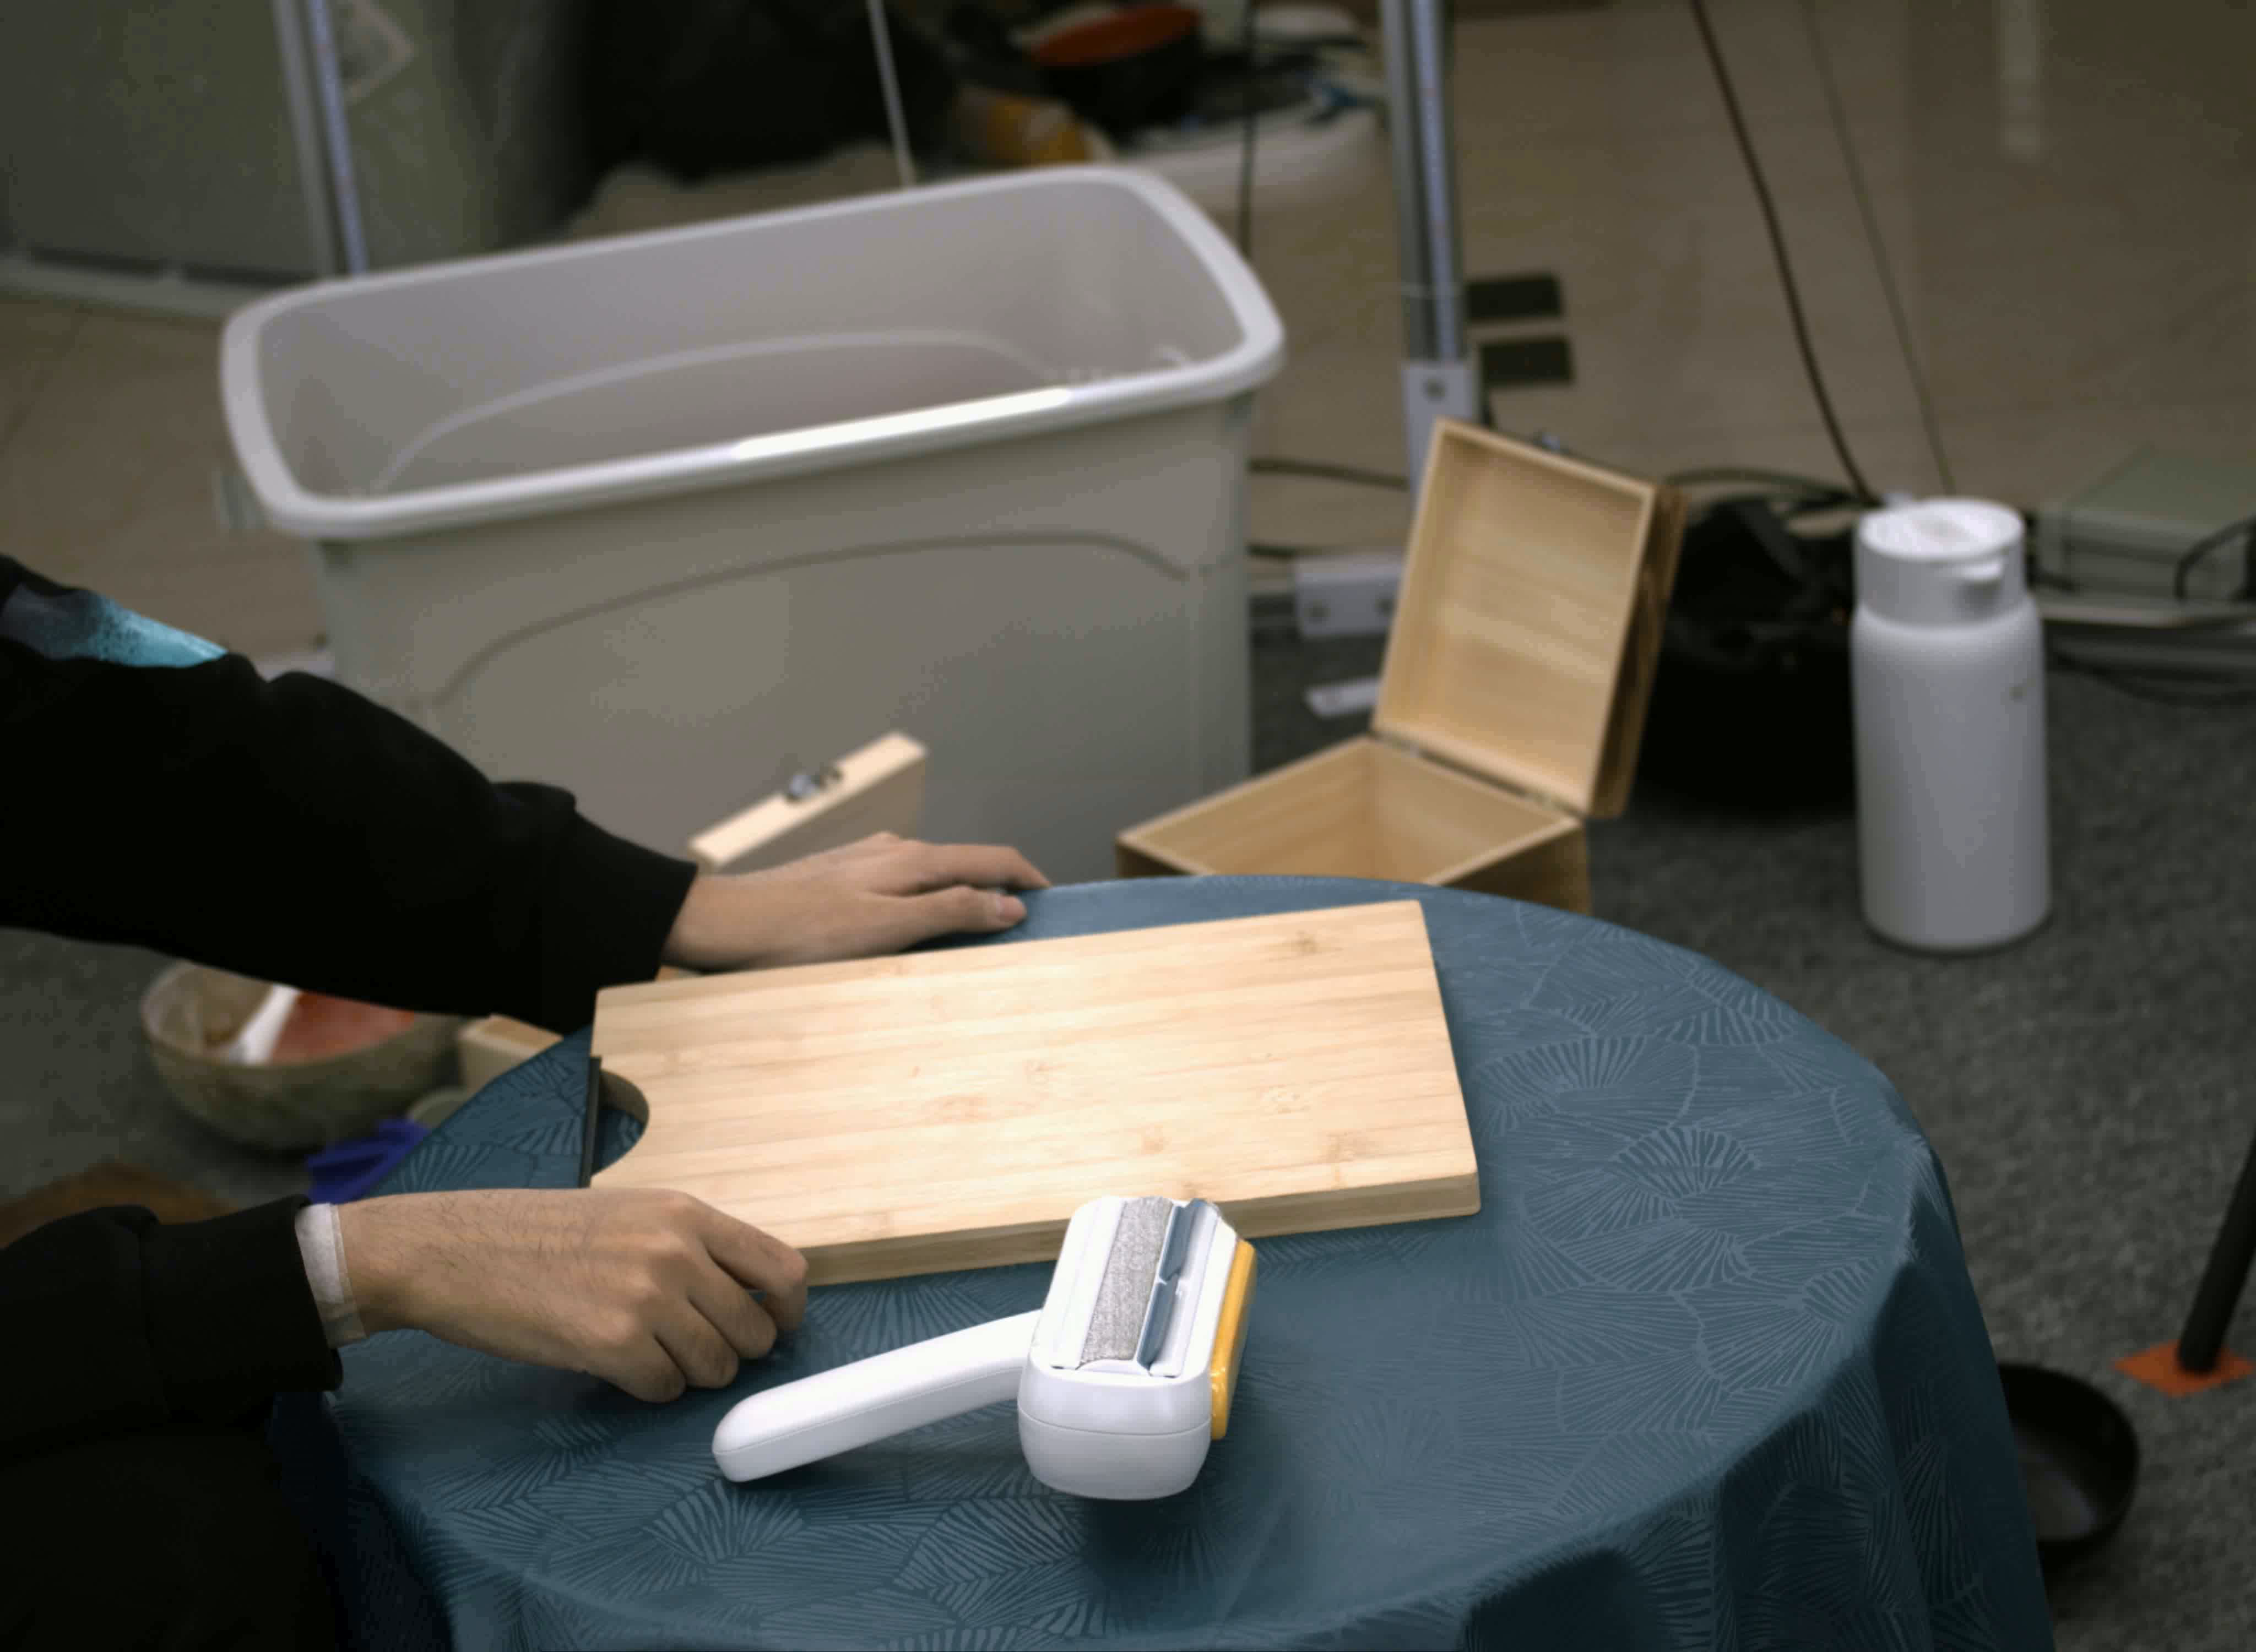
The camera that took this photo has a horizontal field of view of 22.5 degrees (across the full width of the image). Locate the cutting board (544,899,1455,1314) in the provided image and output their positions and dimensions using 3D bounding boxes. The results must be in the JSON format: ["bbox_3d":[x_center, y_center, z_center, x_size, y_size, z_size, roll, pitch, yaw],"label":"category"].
[{"bbox_3d":[-0.049,0.106,2.207,0.348,0.024,0.247,-7,25,0],"label":"cutting board"}]

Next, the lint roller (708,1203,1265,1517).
[{"bbox_3d":[-0.055,0.191,1.967,0.192,0.075,0.190,-3,20,11],"label":"lint roller"}]
